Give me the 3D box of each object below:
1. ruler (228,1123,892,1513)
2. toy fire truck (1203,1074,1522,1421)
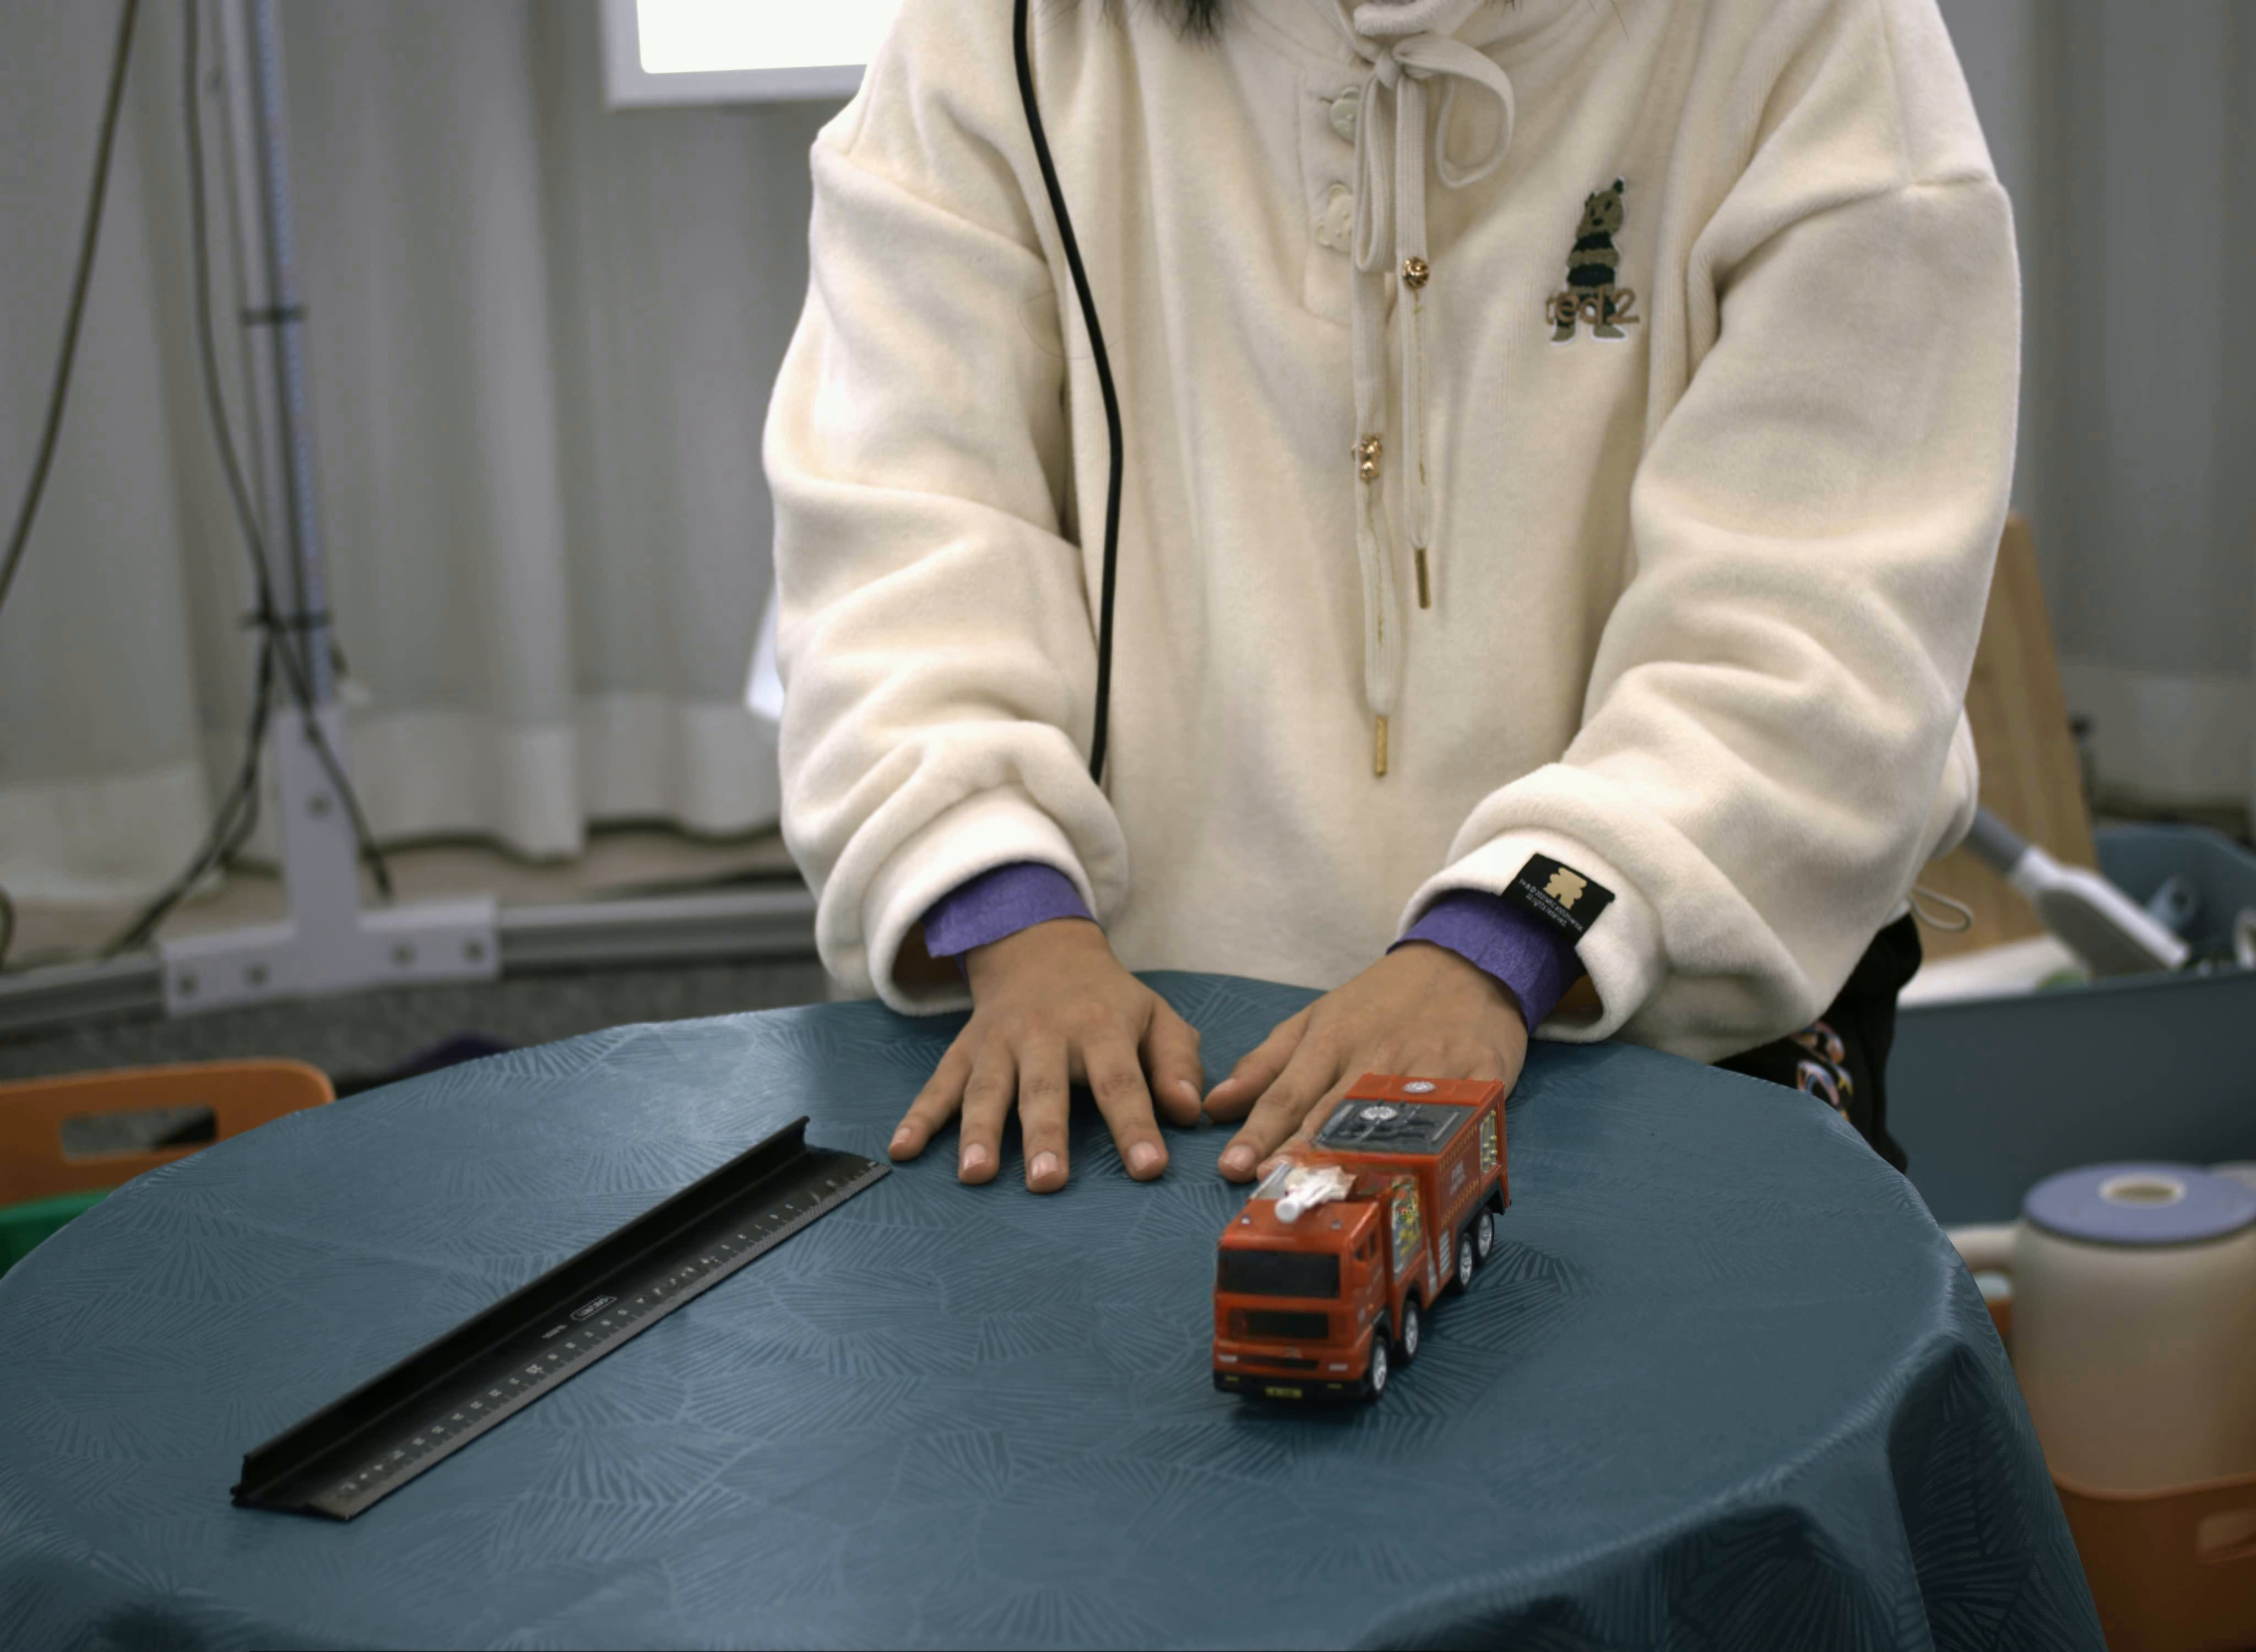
[{"bbox_3d":[-0.160,0.141,1.616,0.039,0.017,0.313,8,18,26],"label":"ruler"},{"bbox_3d":[0.070,0.118,1.575,0.054,0.070,0.168,1,14,20],"label":"toy fire truck"}]
